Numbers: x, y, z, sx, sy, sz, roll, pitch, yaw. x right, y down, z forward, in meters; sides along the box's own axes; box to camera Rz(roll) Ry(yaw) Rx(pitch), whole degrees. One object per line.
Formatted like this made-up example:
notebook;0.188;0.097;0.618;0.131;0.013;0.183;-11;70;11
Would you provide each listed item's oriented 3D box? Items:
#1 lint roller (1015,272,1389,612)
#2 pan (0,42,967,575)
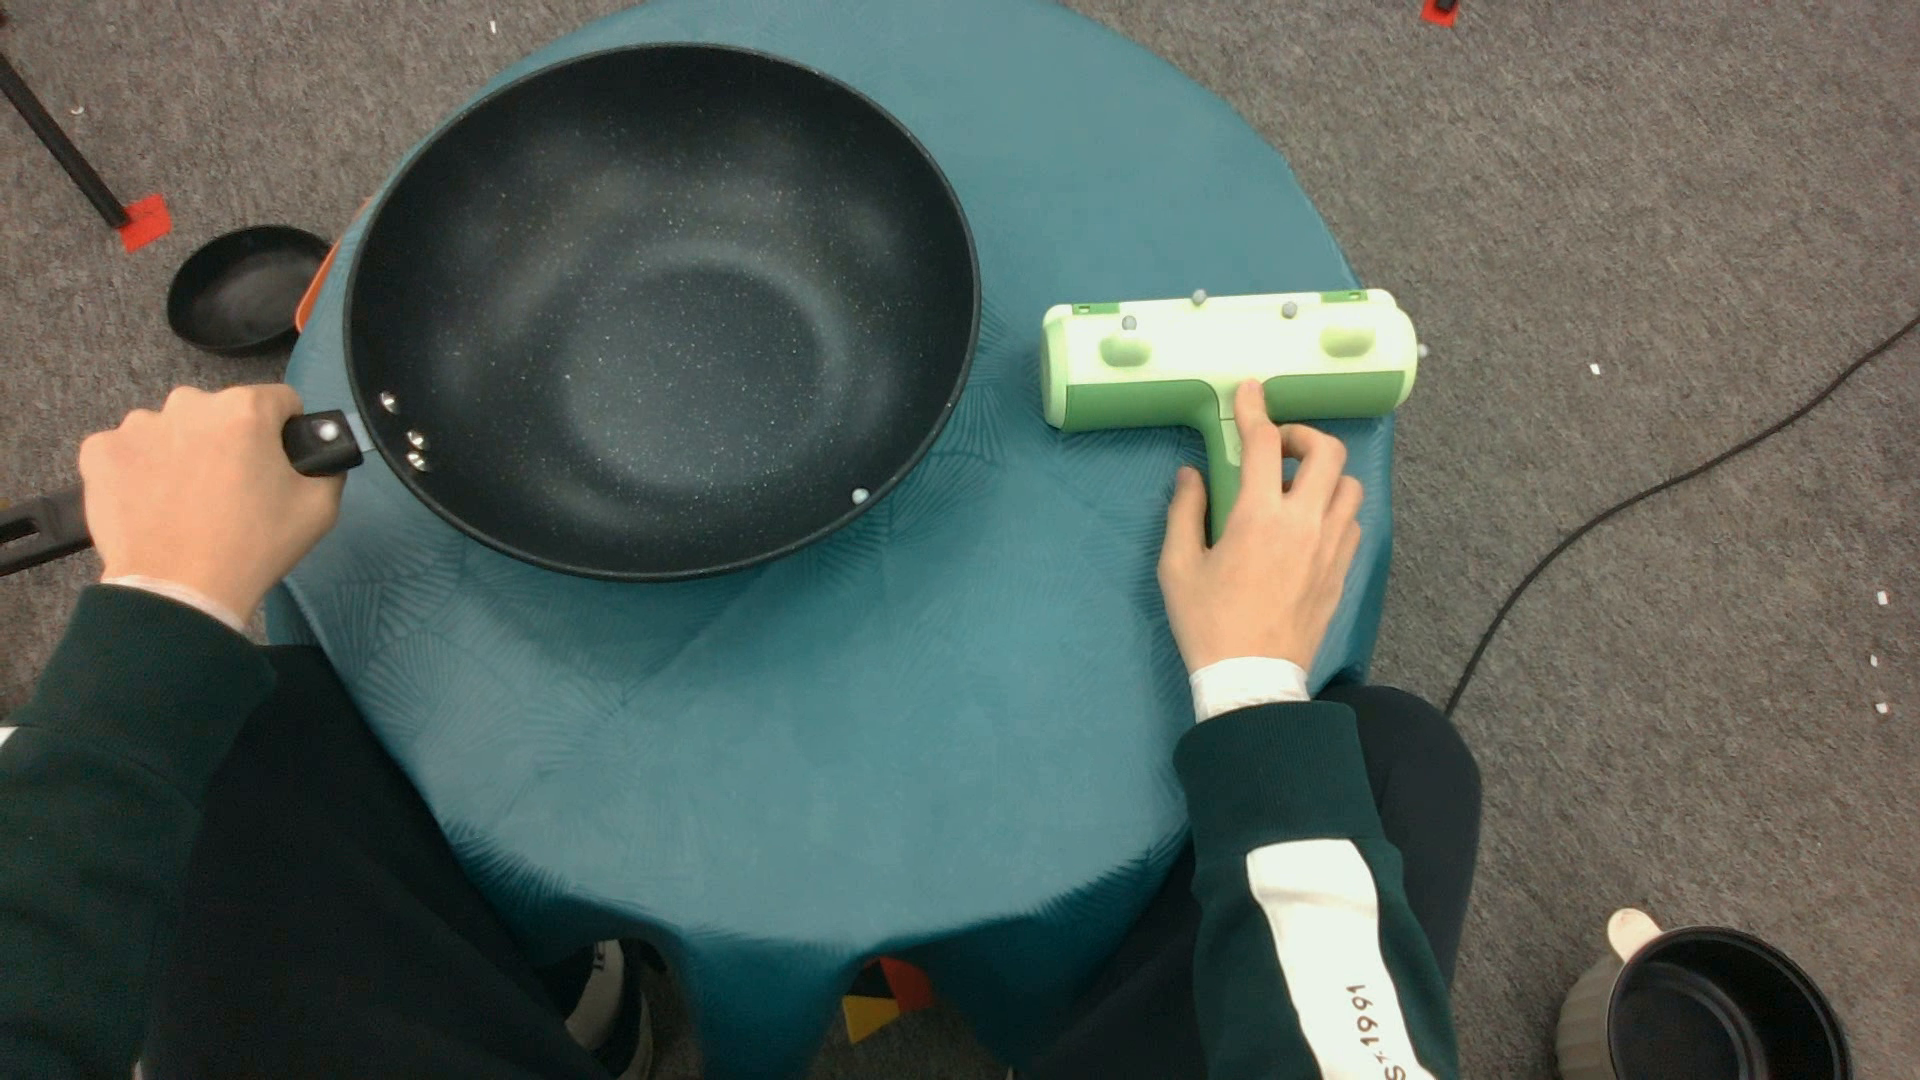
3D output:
lint roller;0.135;-0.059;0.710;0.199;0.082;0.184;-4;62;-5
pan;-0.223;-0.079;0.685;0.478;0.111;0.310;-29;69;-15
